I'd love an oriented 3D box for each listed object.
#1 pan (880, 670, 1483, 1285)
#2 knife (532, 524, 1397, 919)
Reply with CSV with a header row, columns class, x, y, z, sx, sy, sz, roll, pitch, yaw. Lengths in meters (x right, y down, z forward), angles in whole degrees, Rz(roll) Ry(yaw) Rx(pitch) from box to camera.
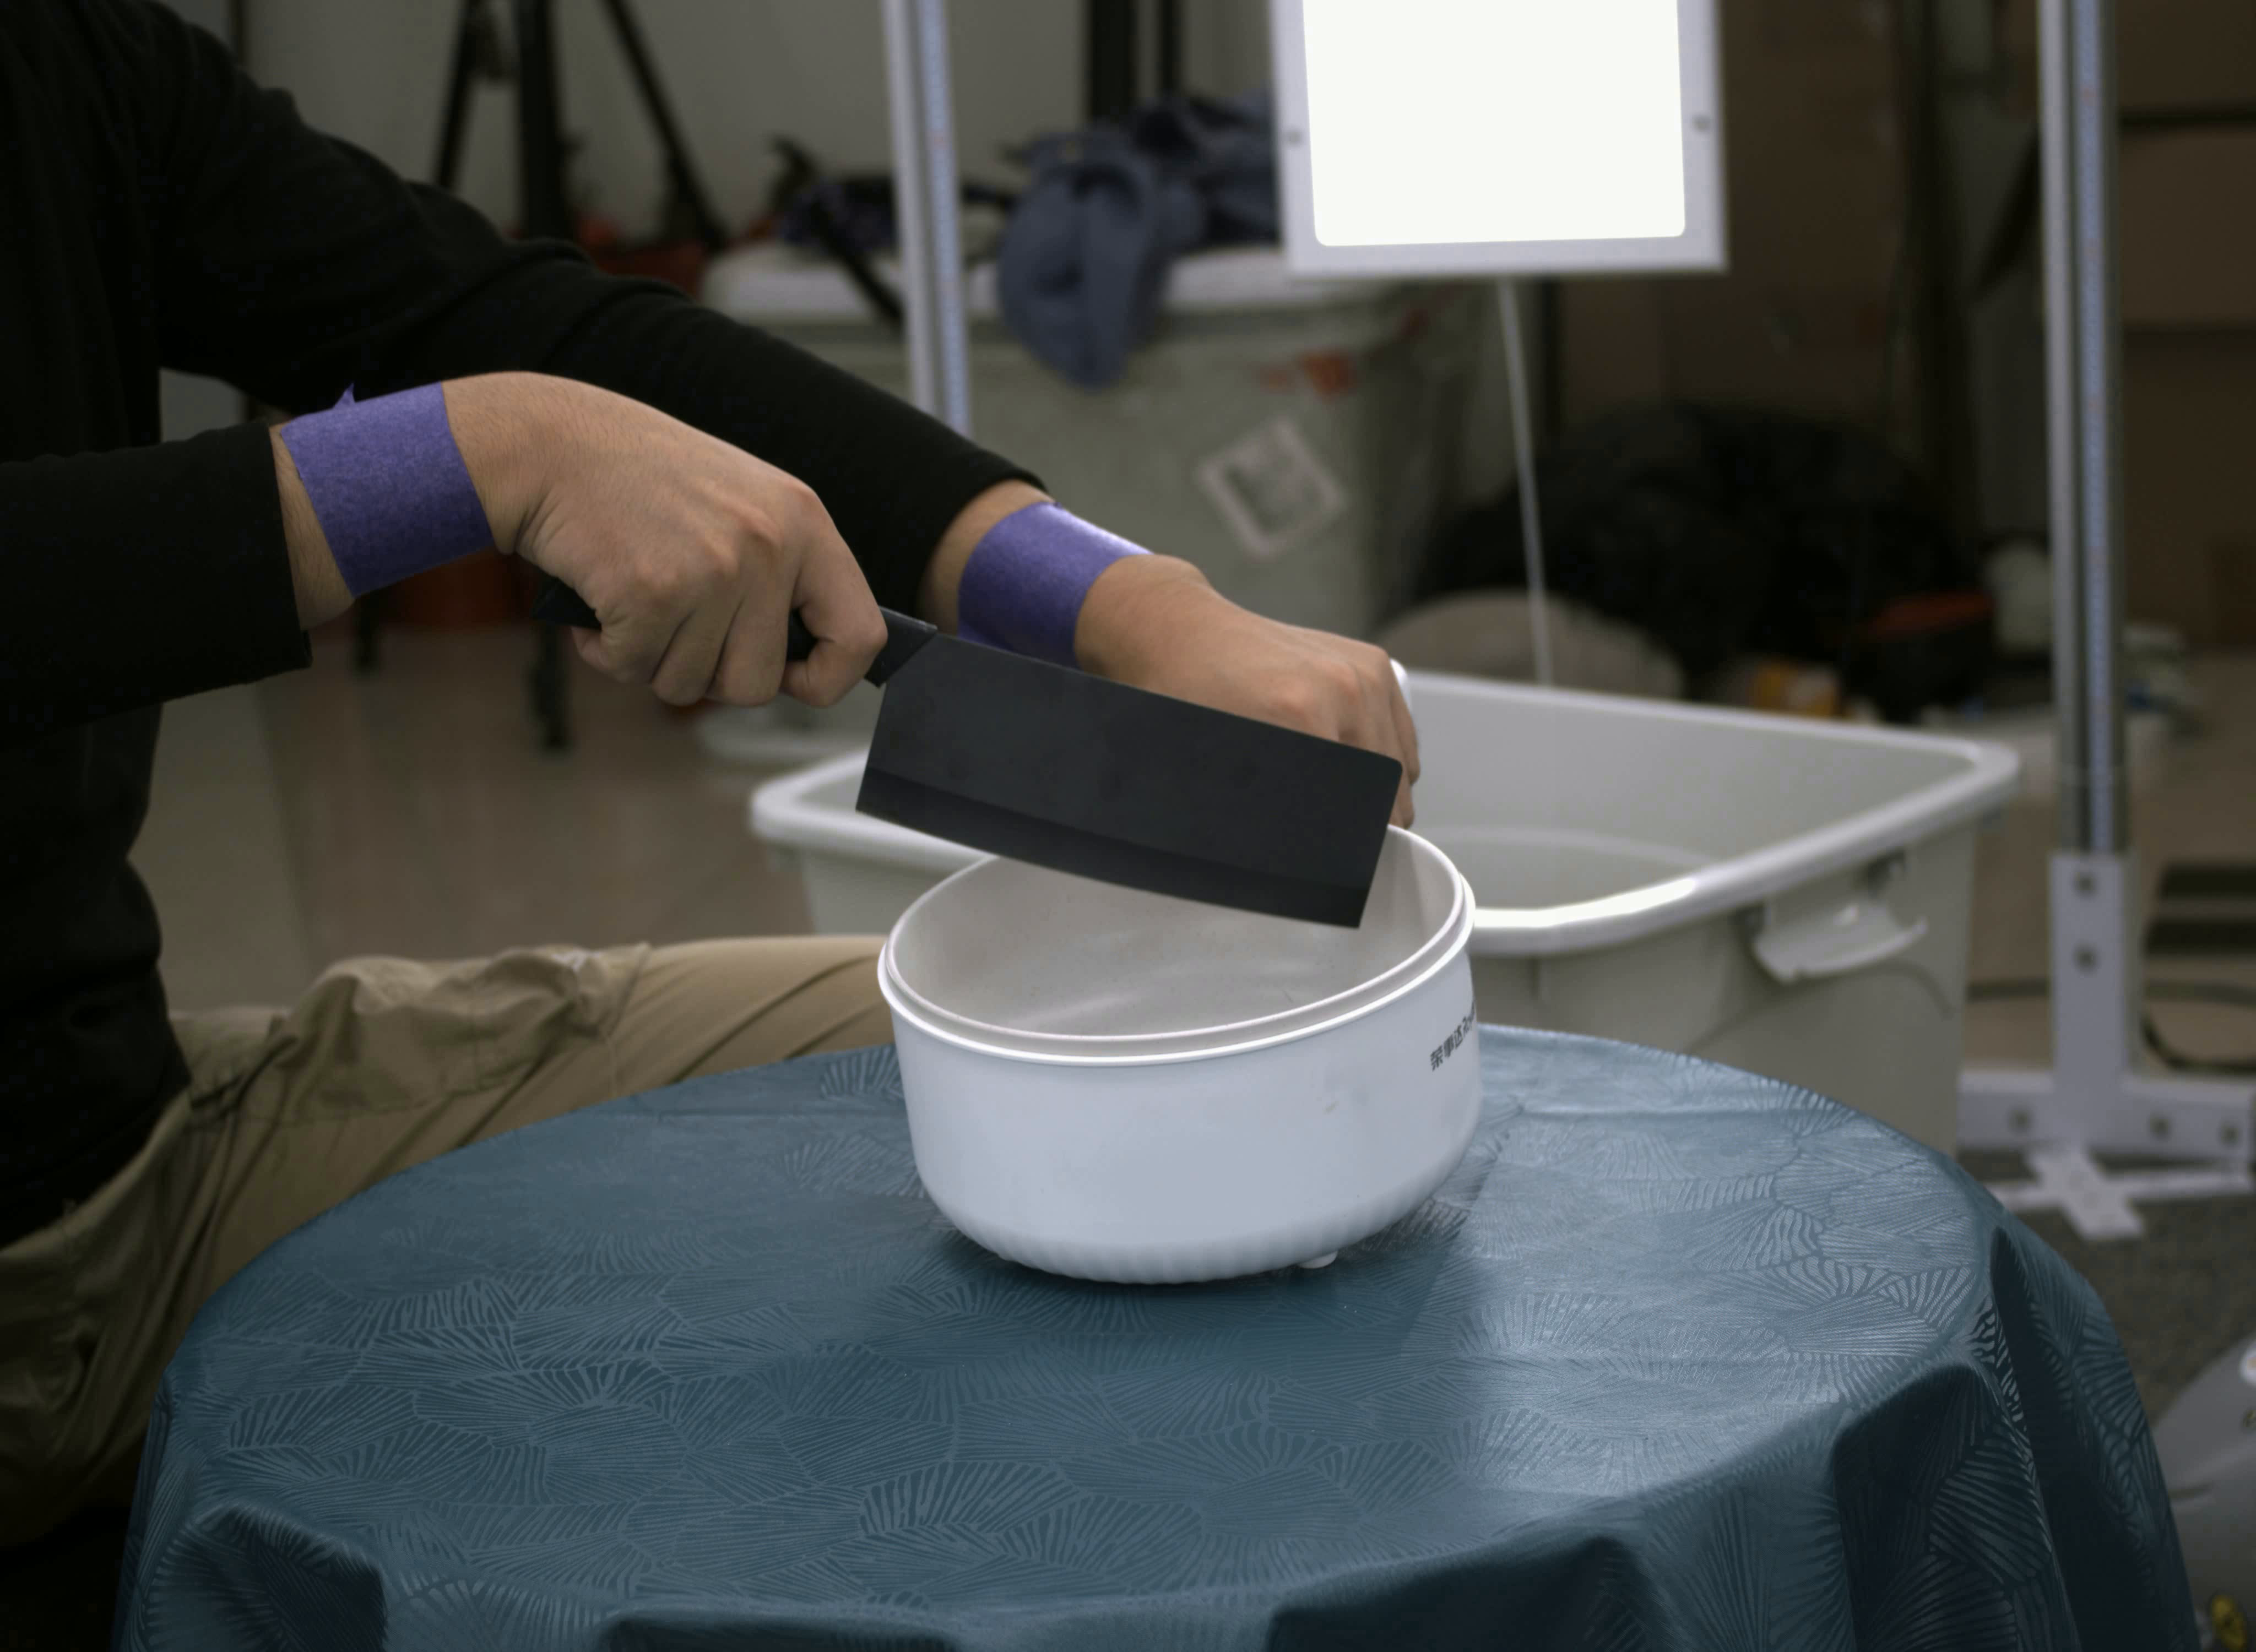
class,x,y,z,sx,sy,sz,roll,pitch,yaw
pan,0.043,0.050,1.919,0.204,0.102,0.349,-1,21,19
knife,-0.053,-0.036,1.834,0.299,0.081,0.021,20,0,-12
